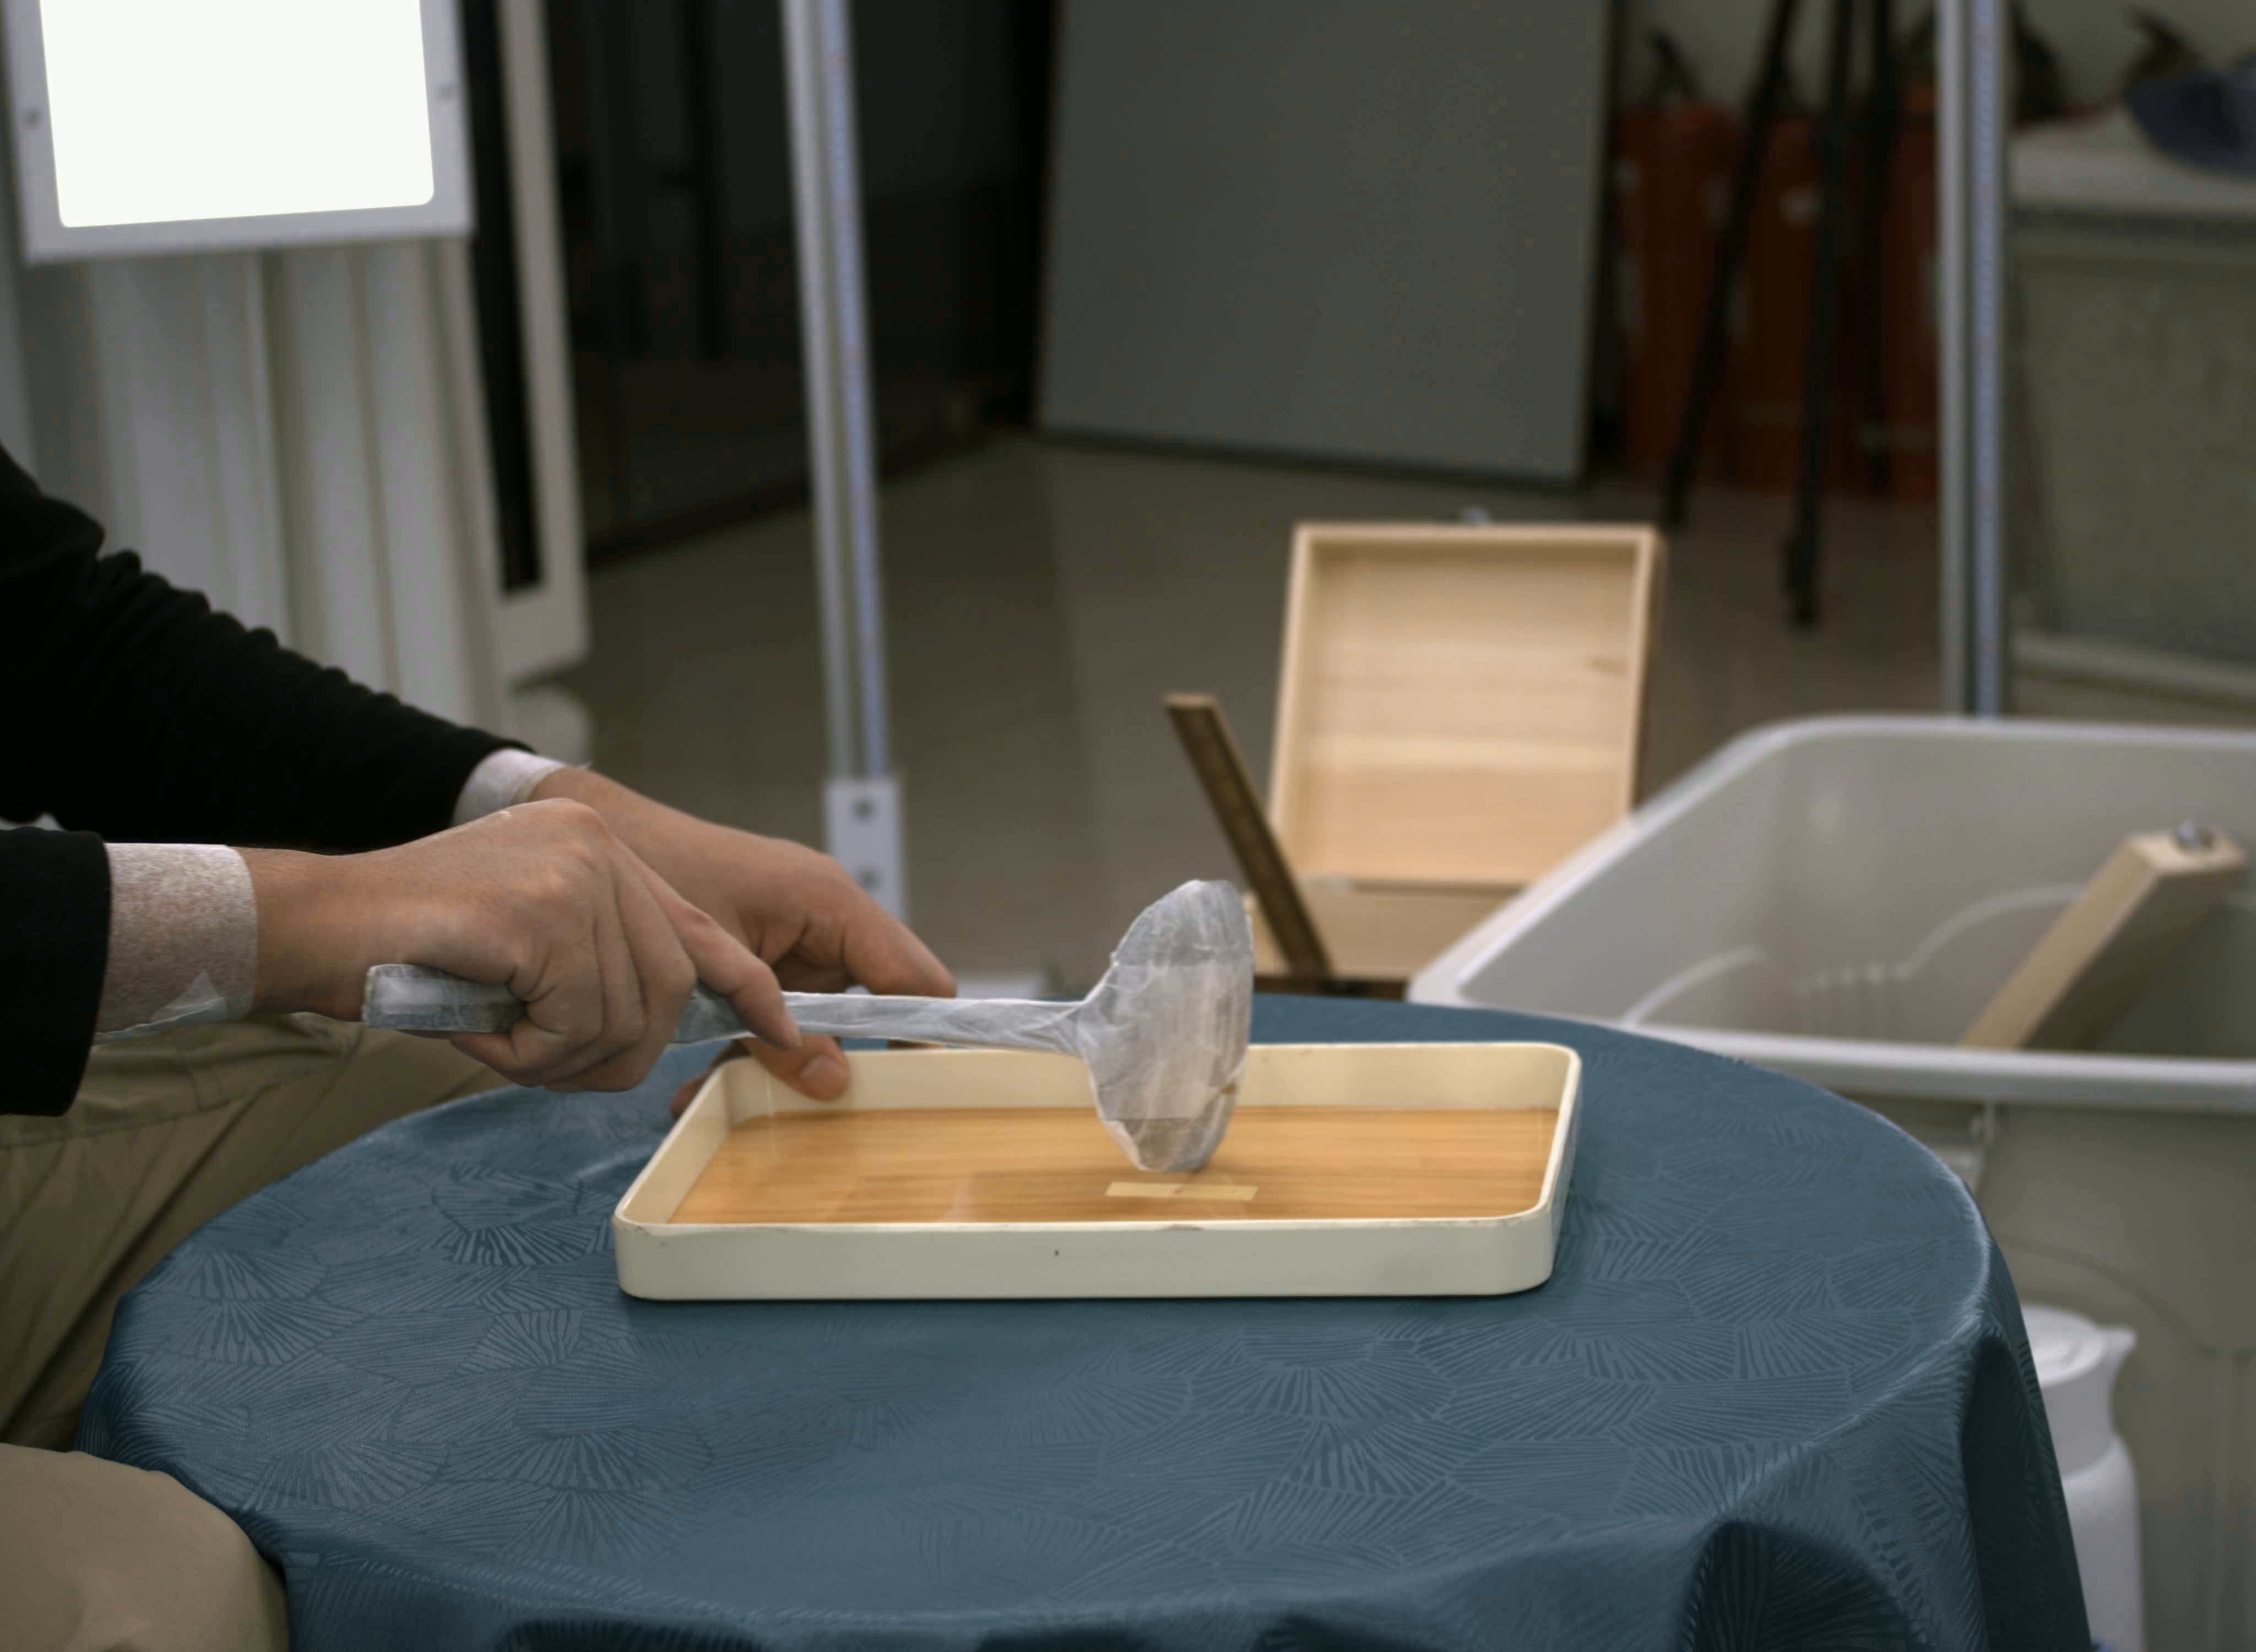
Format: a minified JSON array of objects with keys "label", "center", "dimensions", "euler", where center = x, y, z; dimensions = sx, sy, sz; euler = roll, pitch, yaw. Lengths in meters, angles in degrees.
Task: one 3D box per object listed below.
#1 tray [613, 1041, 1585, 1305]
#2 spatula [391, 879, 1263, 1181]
[{"label":"tray","center":[-0.004,0.112,1.752],"dimensions":[0.298,0.028,0.191],"euler":[-2,14,11]},{"label":"spatula","center":[-0.082,0.058,1.652],"dimensions":[0.356,0.100,0.045],"euler":[5,1,-39]}]
